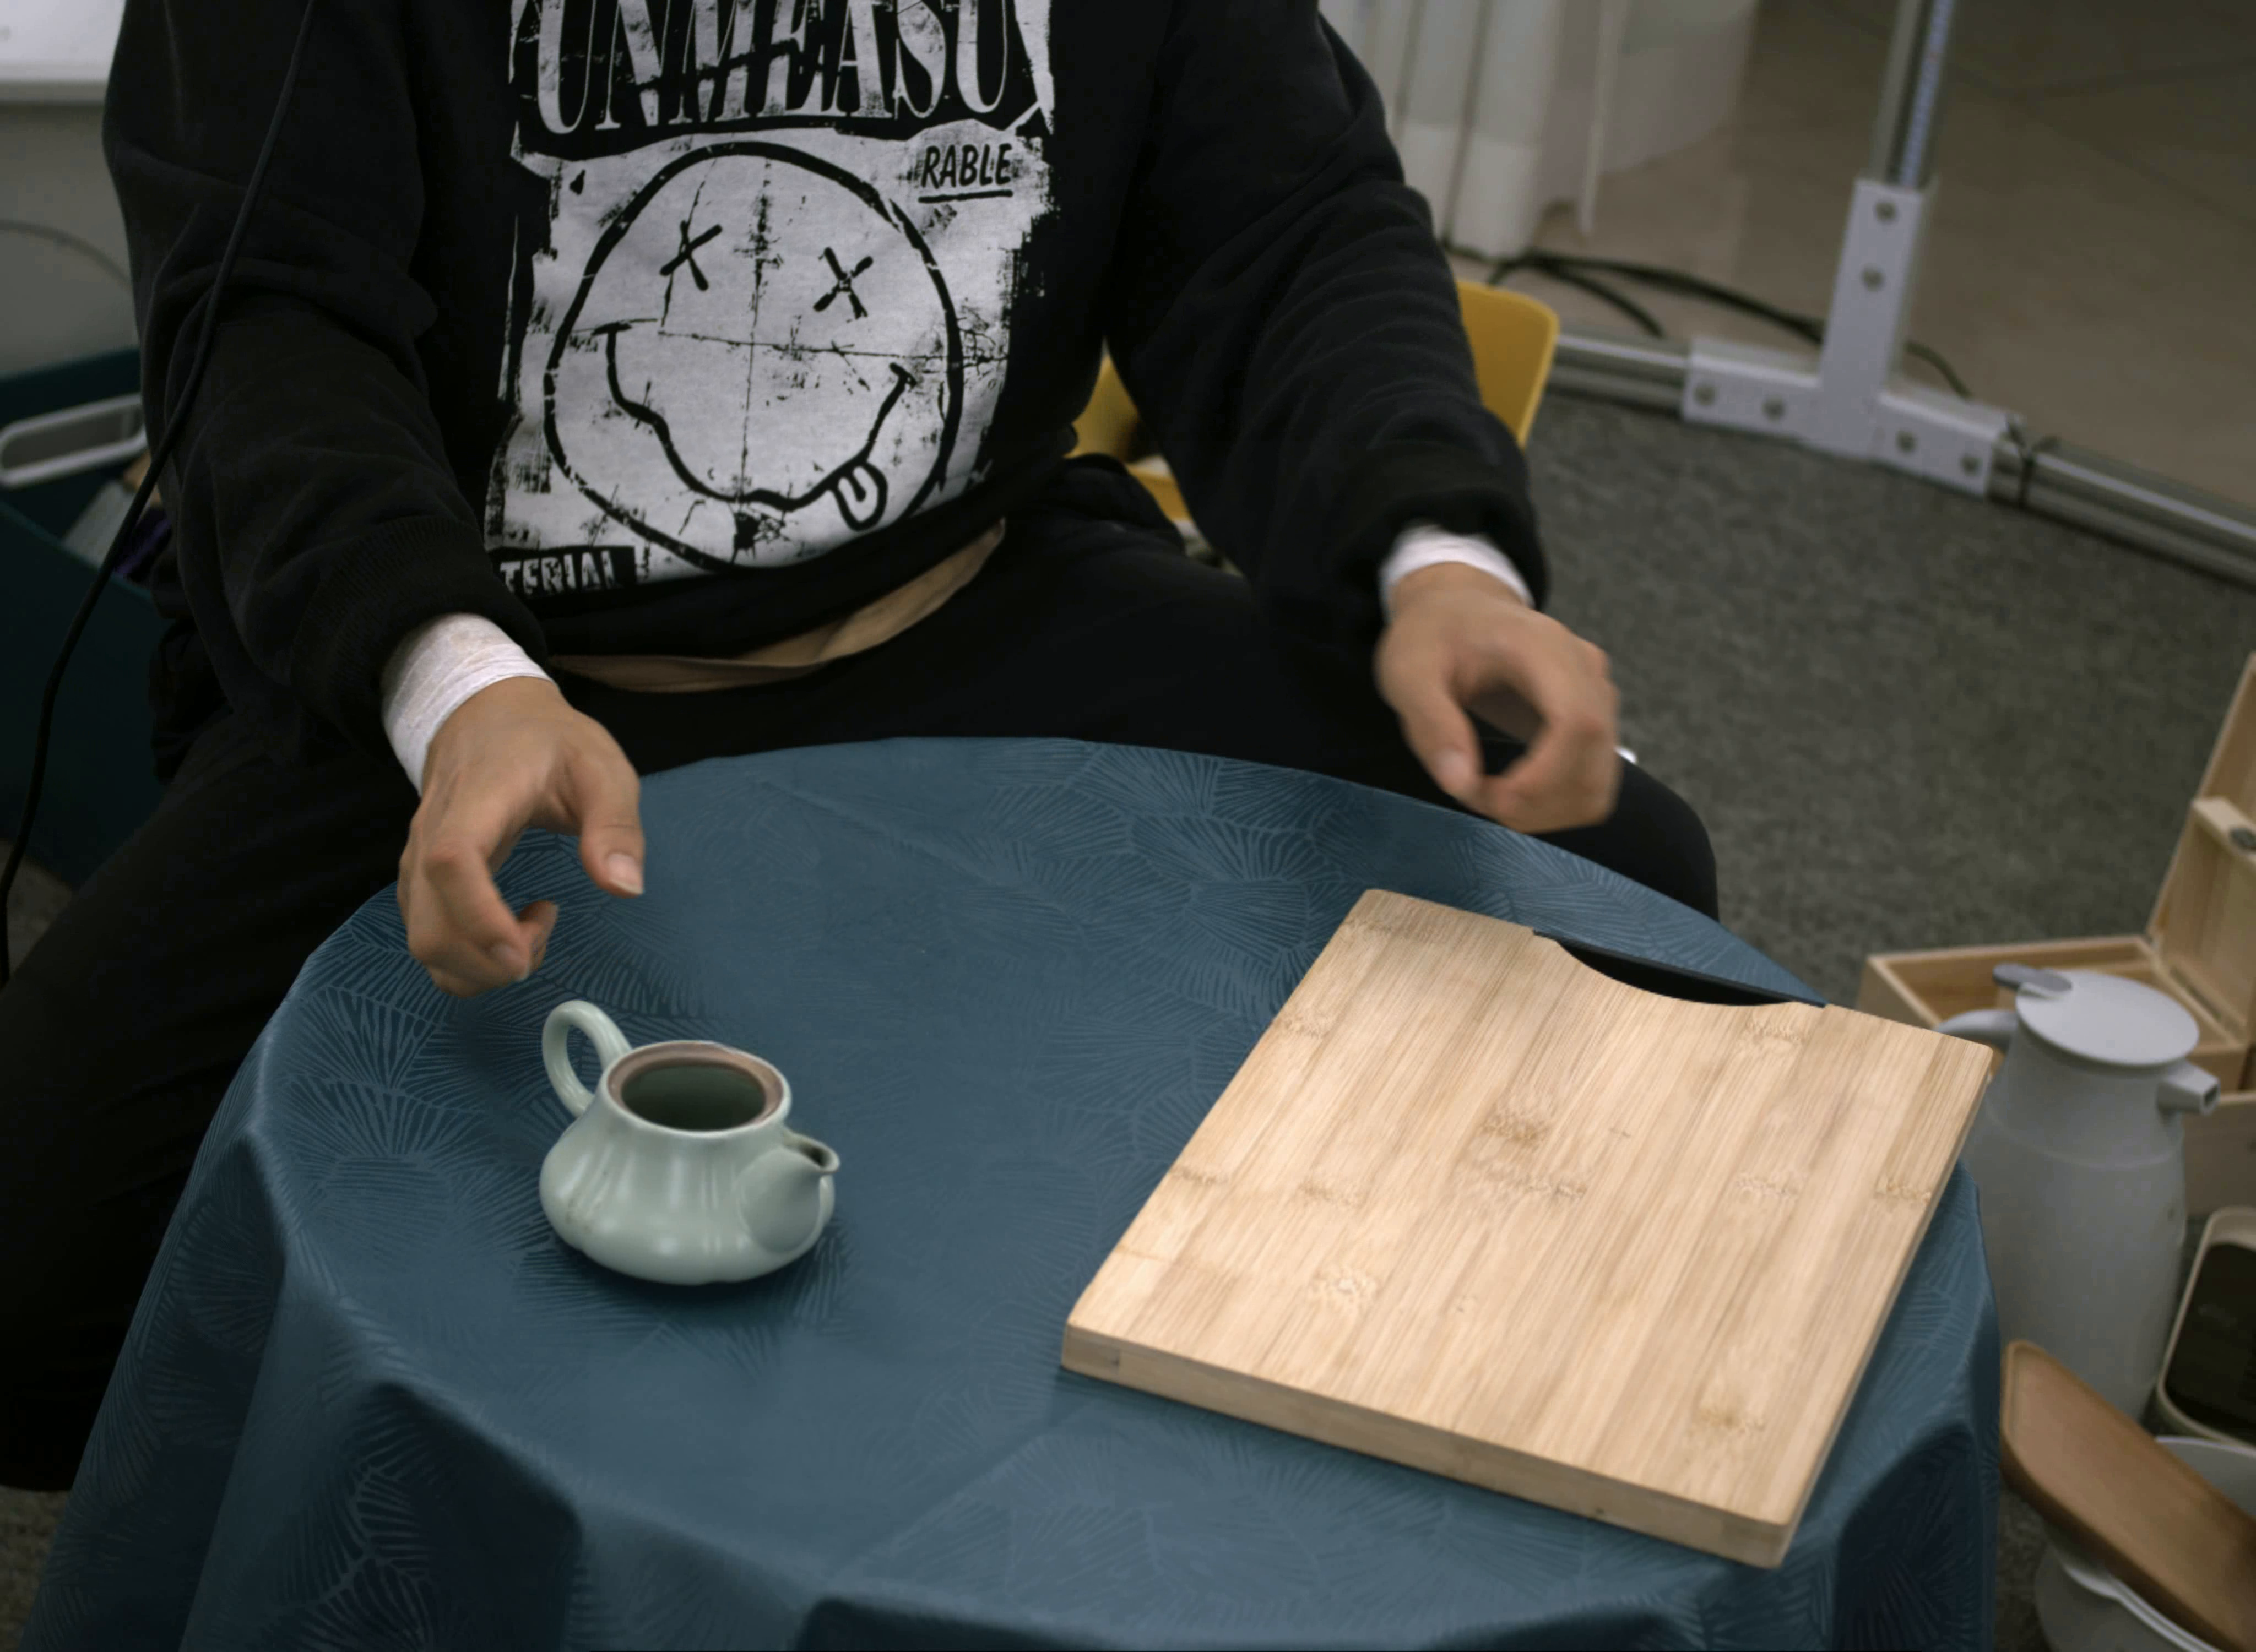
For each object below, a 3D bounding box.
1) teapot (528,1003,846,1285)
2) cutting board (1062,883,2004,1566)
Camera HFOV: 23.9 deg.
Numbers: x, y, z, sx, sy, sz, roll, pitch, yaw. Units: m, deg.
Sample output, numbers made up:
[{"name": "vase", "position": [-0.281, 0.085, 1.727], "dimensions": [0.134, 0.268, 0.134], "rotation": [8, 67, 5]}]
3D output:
[{"name": "teapot", "position": [-0.147, 0.106, 1.741], "dimensions": [0.138, 0.061, 0.096], "rotation": [27, 34, 33]}, {"name": "cutting board", "position": [0.147, 0.125, 1.817], "dimensions": [0.251, 0.023, 0.349], "rotation": [14, 28, 14]}]
